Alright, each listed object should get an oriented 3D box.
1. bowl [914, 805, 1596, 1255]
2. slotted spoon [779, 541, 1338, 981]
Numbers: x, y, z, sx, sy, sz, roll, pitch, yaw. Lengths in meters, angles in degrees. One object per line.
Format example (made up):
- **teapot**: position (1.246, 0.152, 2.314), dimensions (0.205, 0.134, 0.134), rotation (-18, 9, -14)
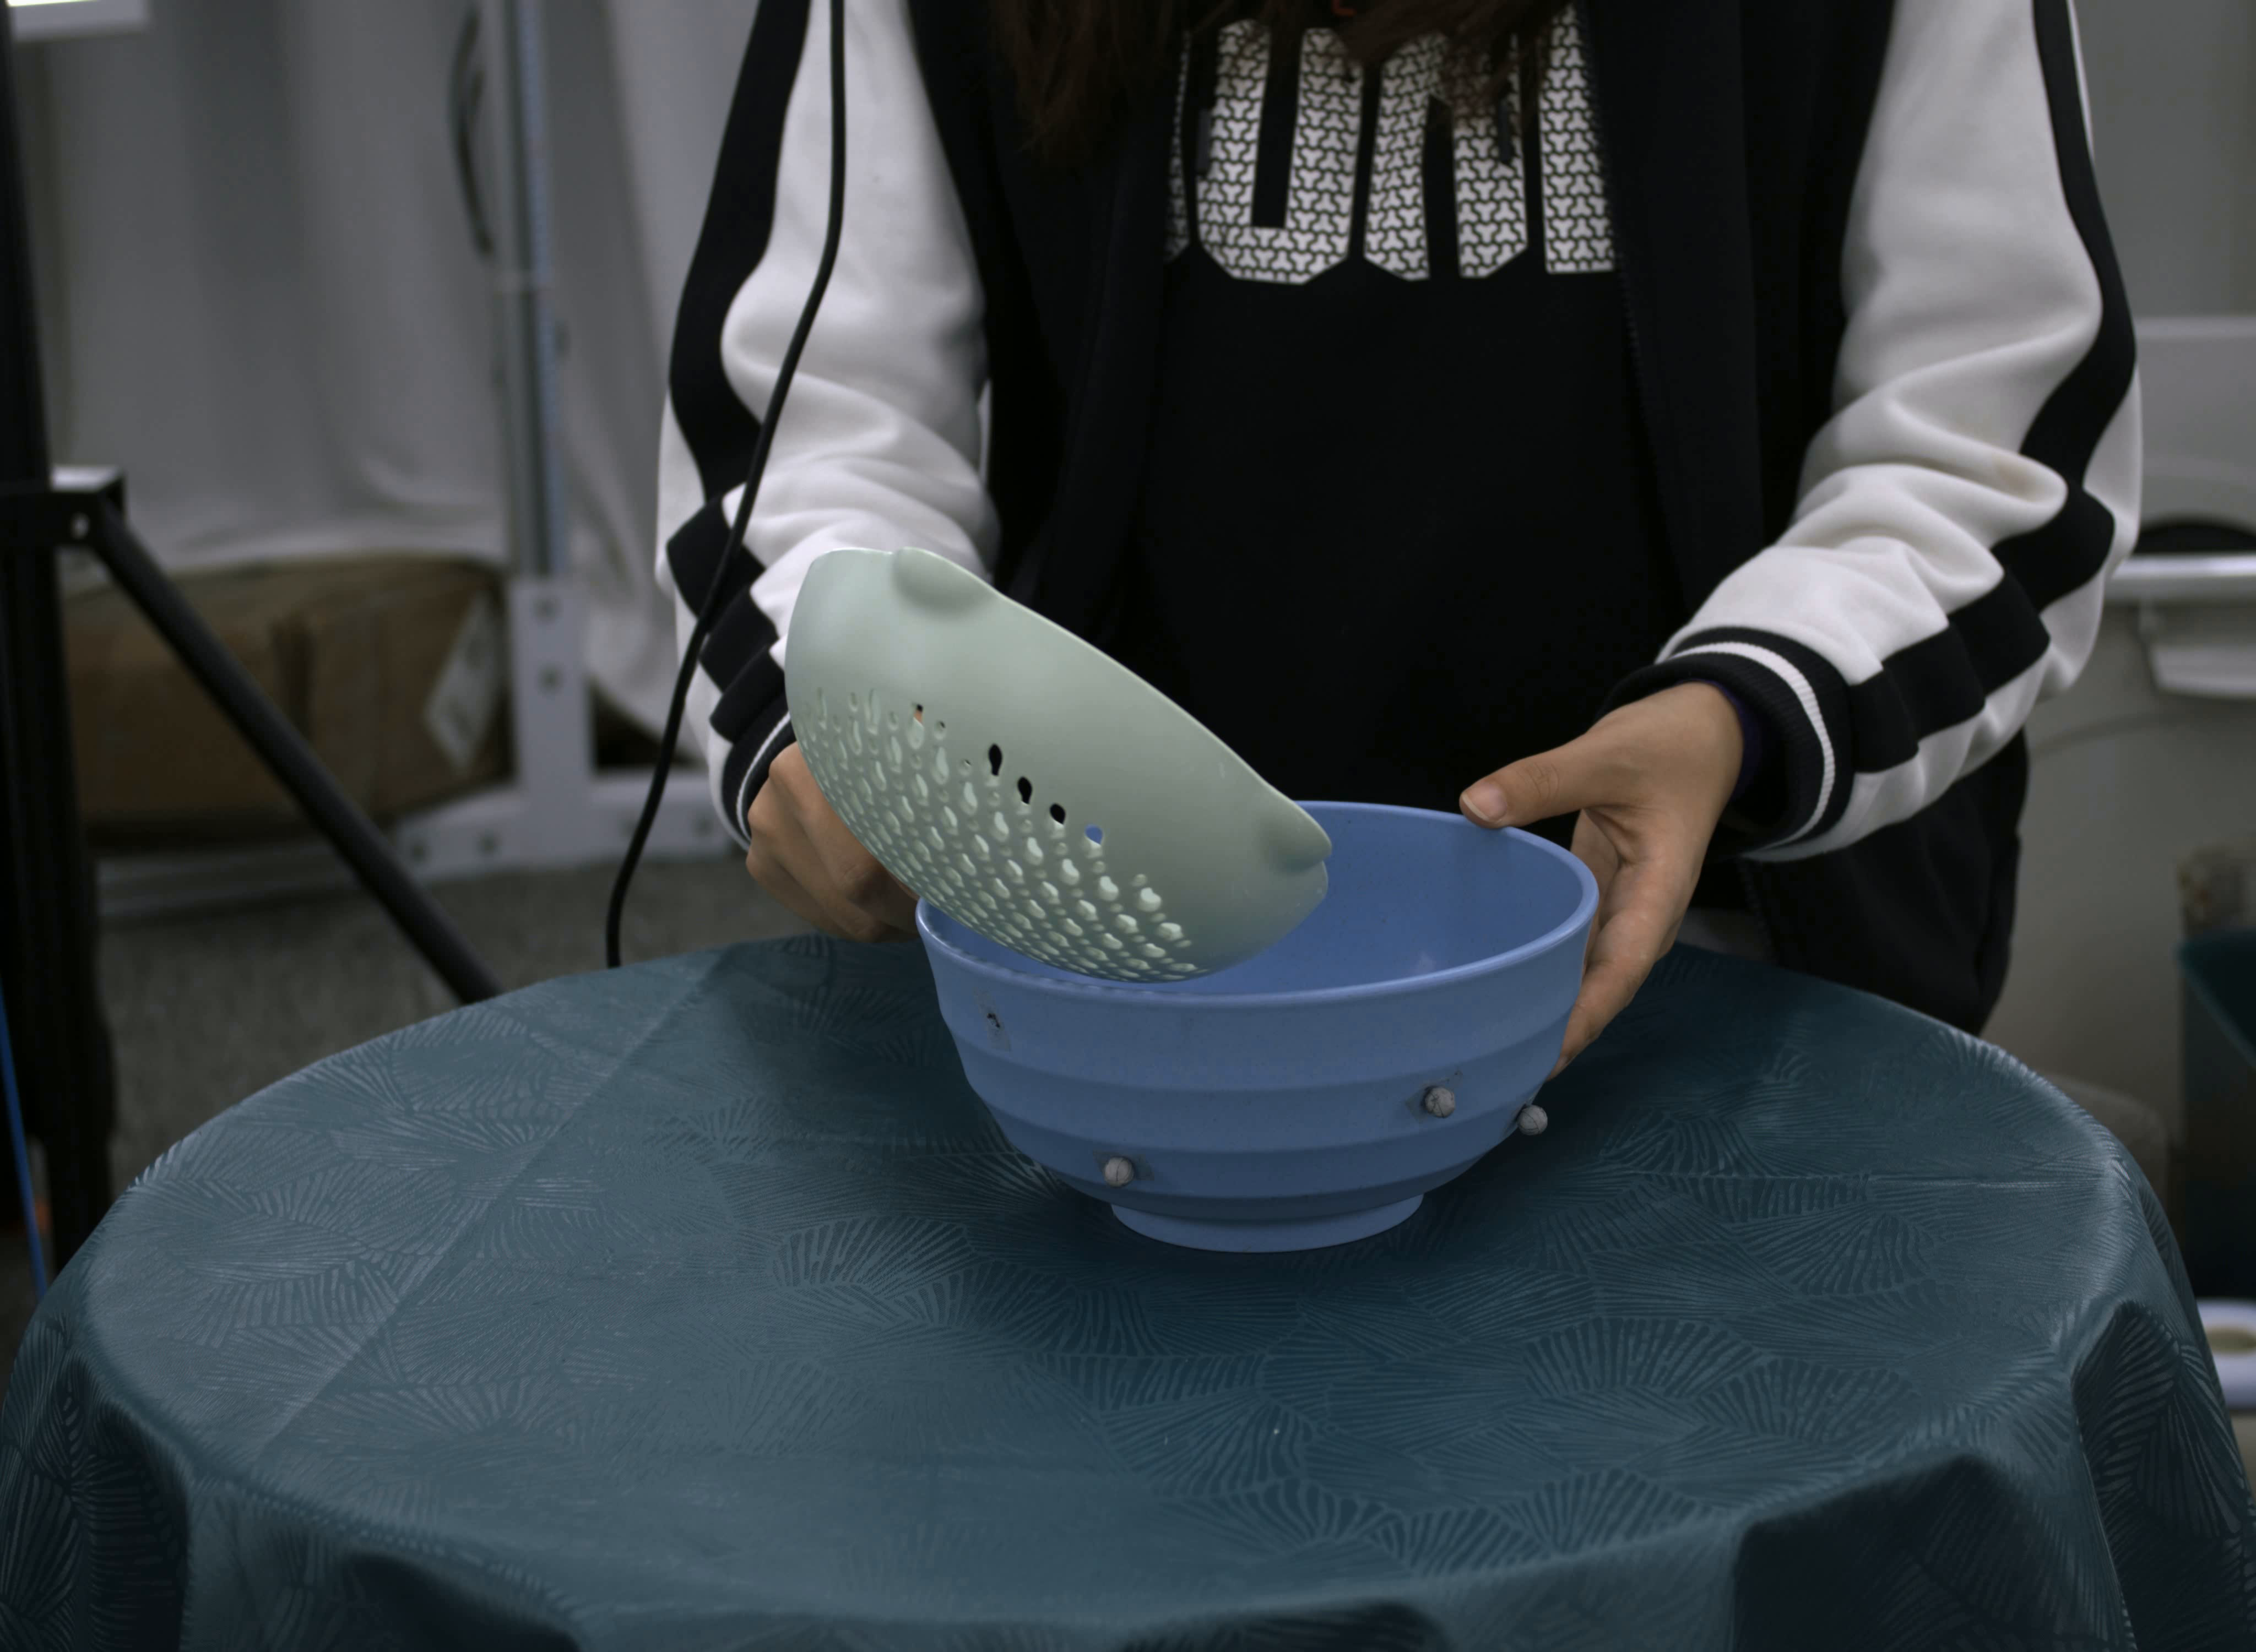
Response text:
- **bowl**: position (0.038, 0.064, 1.533), dimensions (0.195, 0.095, 0.197), rotation (-3, 15, -1)
- **slotted spoon**: position (-0.050, 0.003, 1.551), dimensions (0.168, 0.075, 0.361), rotation (36, -10, -6)
